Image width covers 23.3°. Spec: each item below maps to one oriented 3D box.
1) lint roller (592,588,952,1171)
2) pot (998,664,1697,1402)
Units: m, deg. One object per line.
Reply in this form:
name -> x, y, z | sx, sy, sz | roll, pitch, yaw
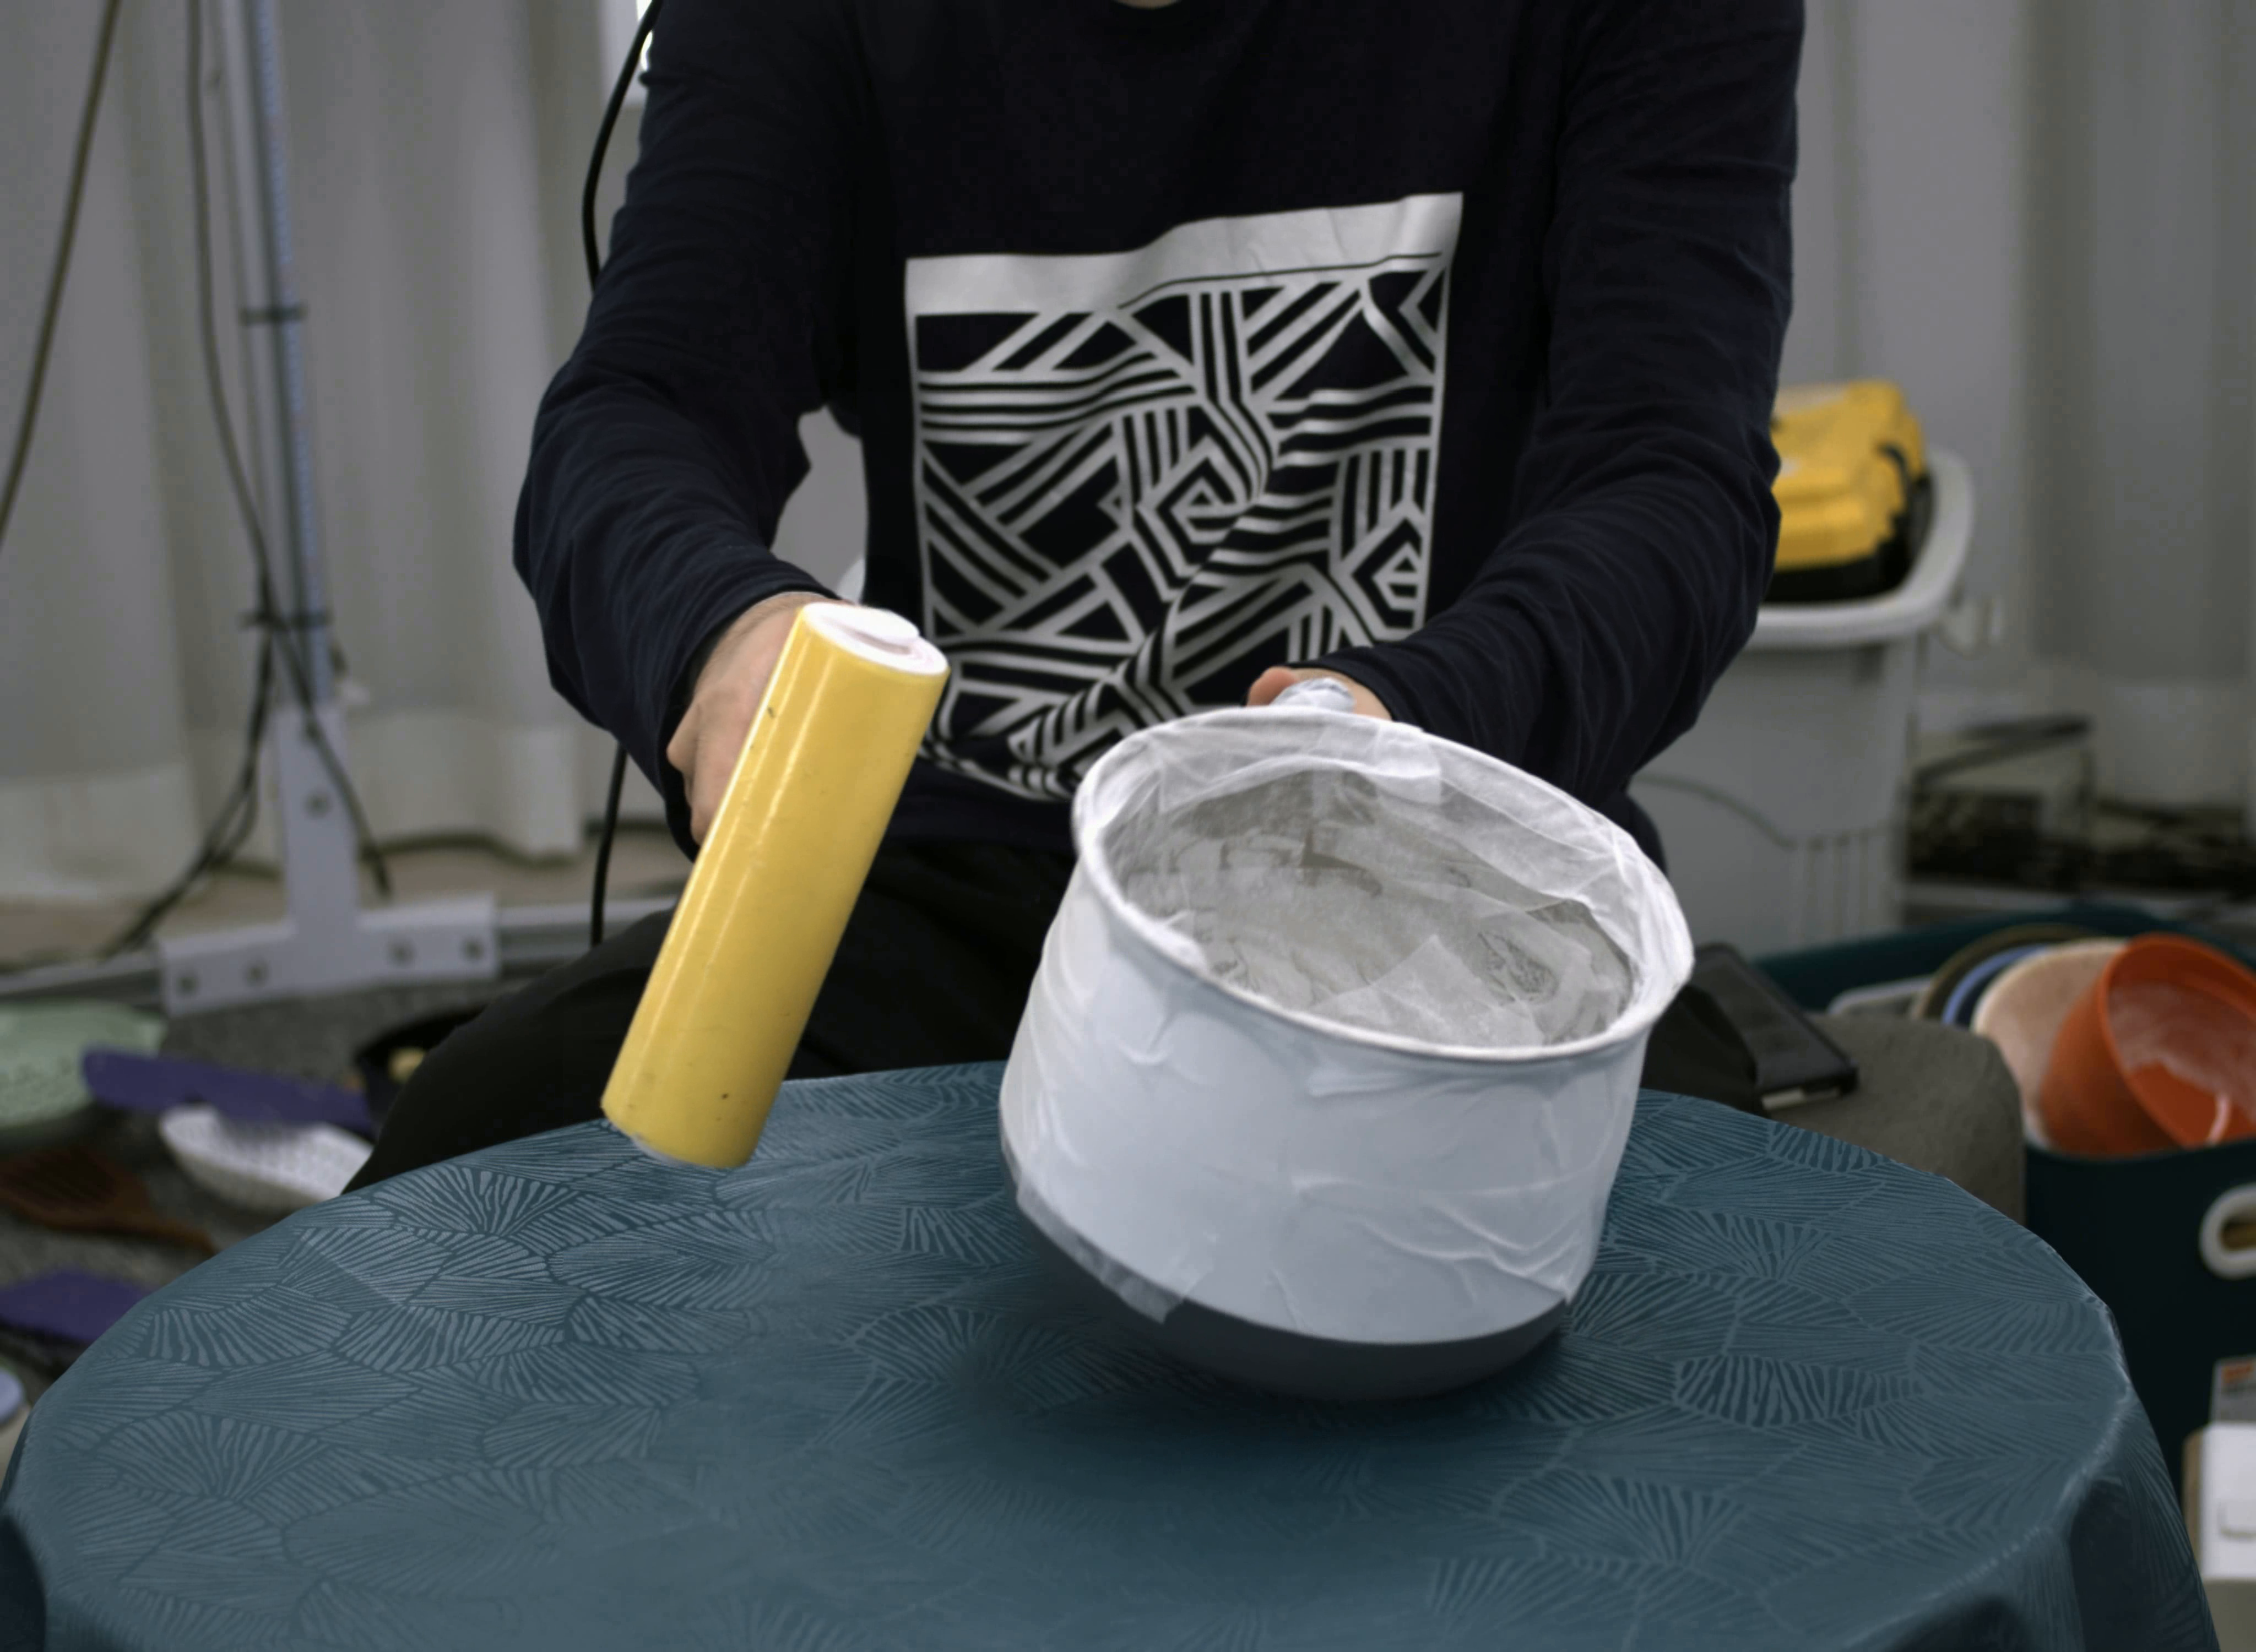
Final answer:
lint roller -> -0.110, -0.004, 1.638 | 0.051, 0.174, 0.194 | 21, 14, -14
pot -> 0.053, 0.049, 1.563 | 0.177, 0.135, 0.237 | 7, 32, -14
